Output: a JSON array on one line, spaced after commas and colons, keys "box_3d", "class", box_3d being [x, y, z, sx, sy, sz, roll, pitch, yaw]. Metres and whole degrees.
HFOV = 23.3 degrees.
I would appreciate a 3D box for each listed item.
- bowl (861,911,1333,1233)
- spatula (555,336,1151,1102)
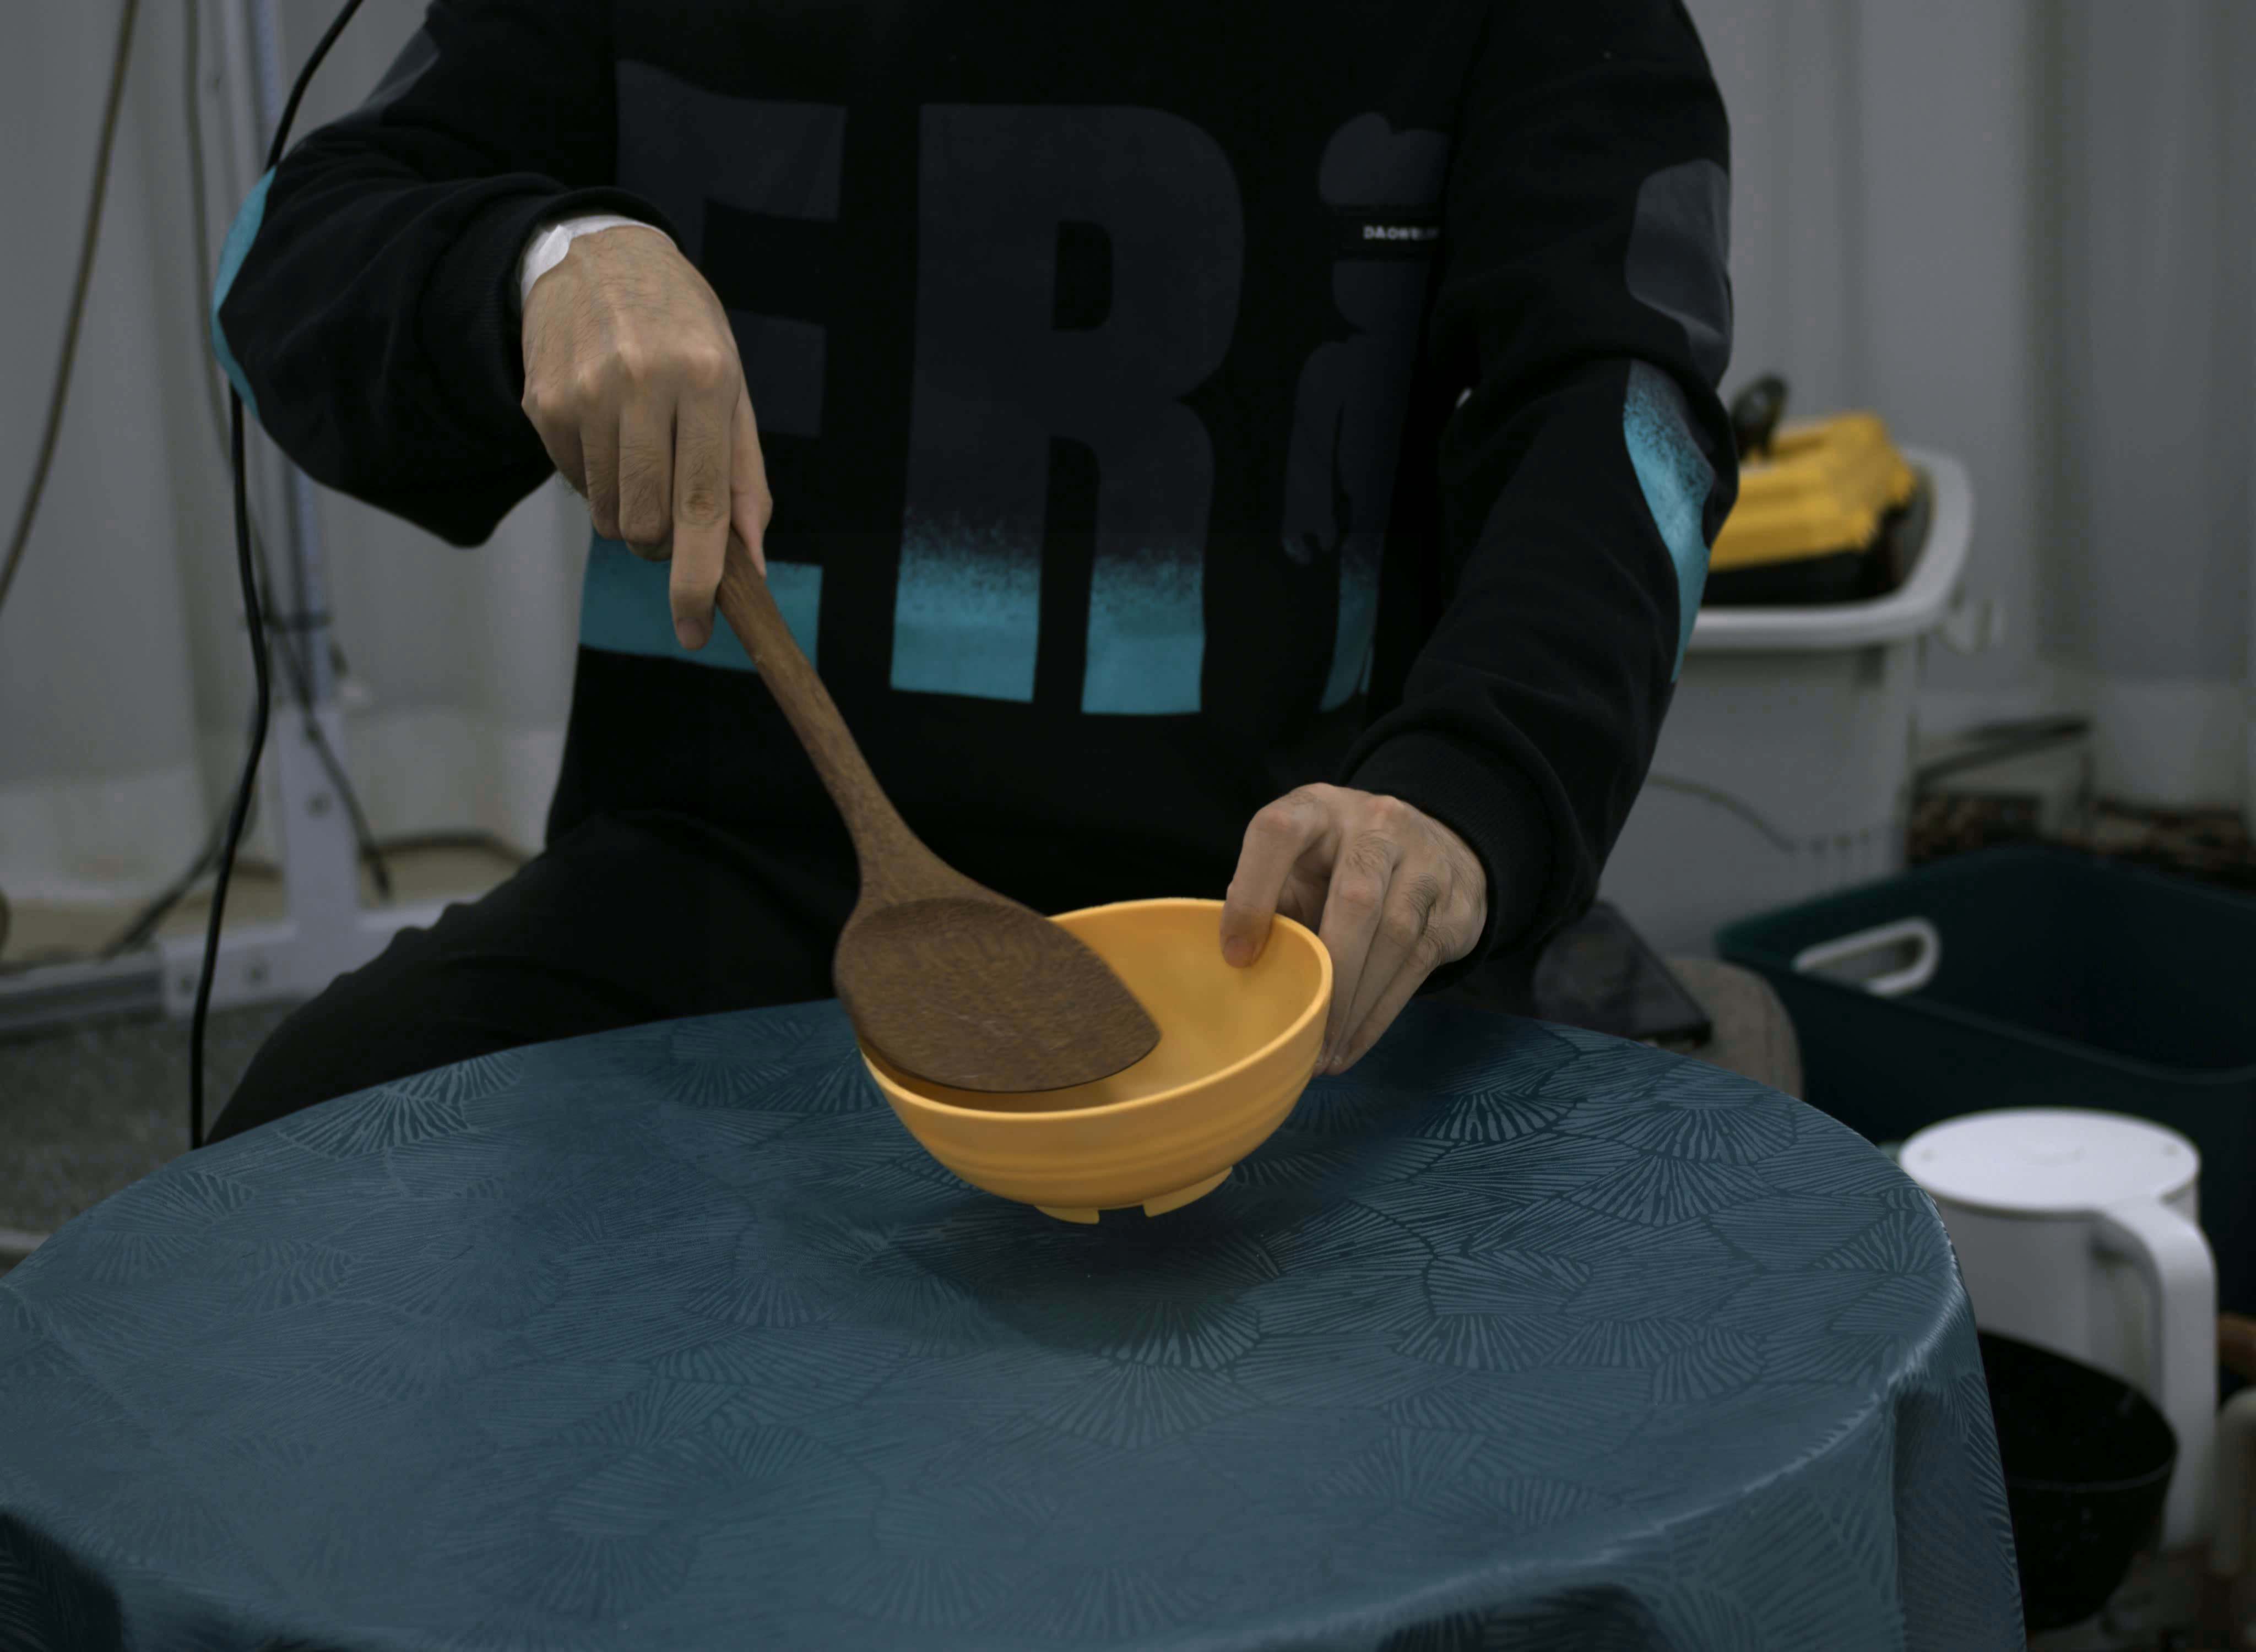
[{"box_3d": [-0.006, 0.083, 1.667, 0.145, 0.059, 0.147, -7, 22, 3], "class": "bowl"}, {"box_3d": [-0.108, -0.044, 1.770, 0.095, 0.015, 0.391, -5, 43, -29], "class": "spatula"}]
